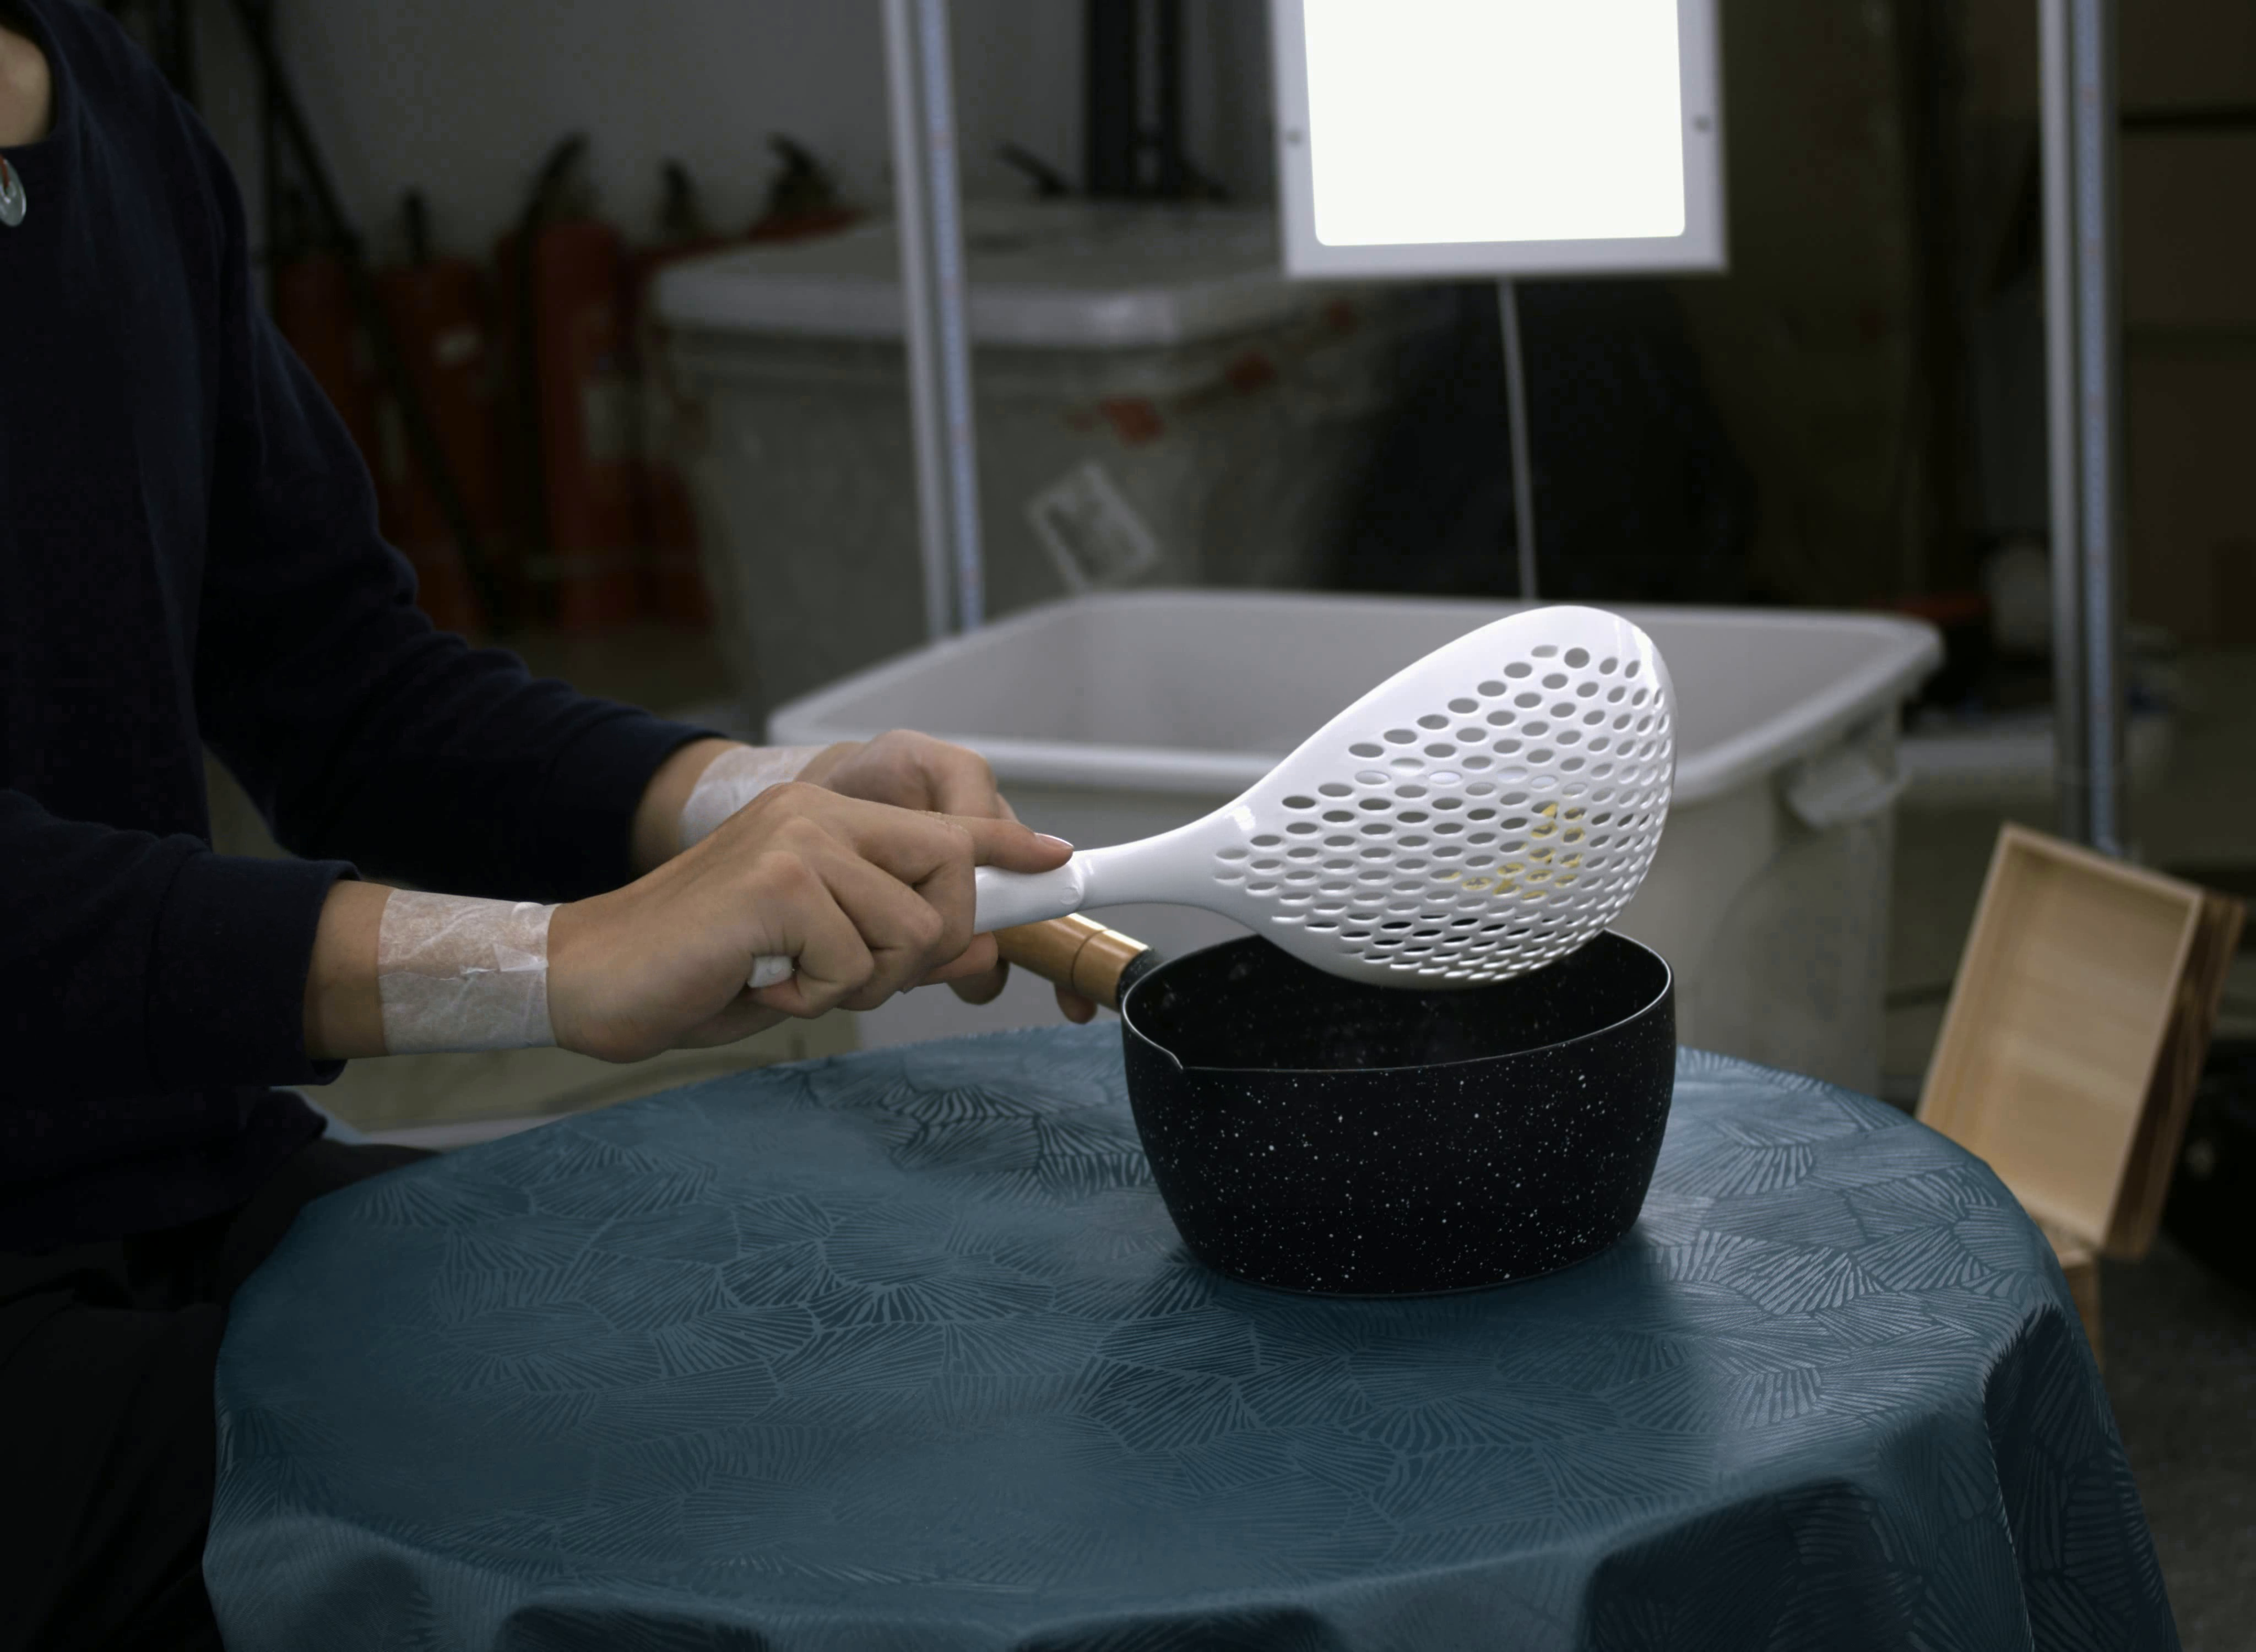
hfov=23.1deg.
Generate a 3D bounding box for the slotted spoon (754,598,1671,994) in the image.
[{"bbox_3d":[0.033,0.011,1.695,0.340,0.138,0.051,-7,29,-25],"label":"slotted spoon"}]

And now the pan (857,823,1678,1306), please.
[{"bbox_3d":[0.033,0.074,1.874,0.350,0.108,0.202,10,21,43],"label":"pan"}]
